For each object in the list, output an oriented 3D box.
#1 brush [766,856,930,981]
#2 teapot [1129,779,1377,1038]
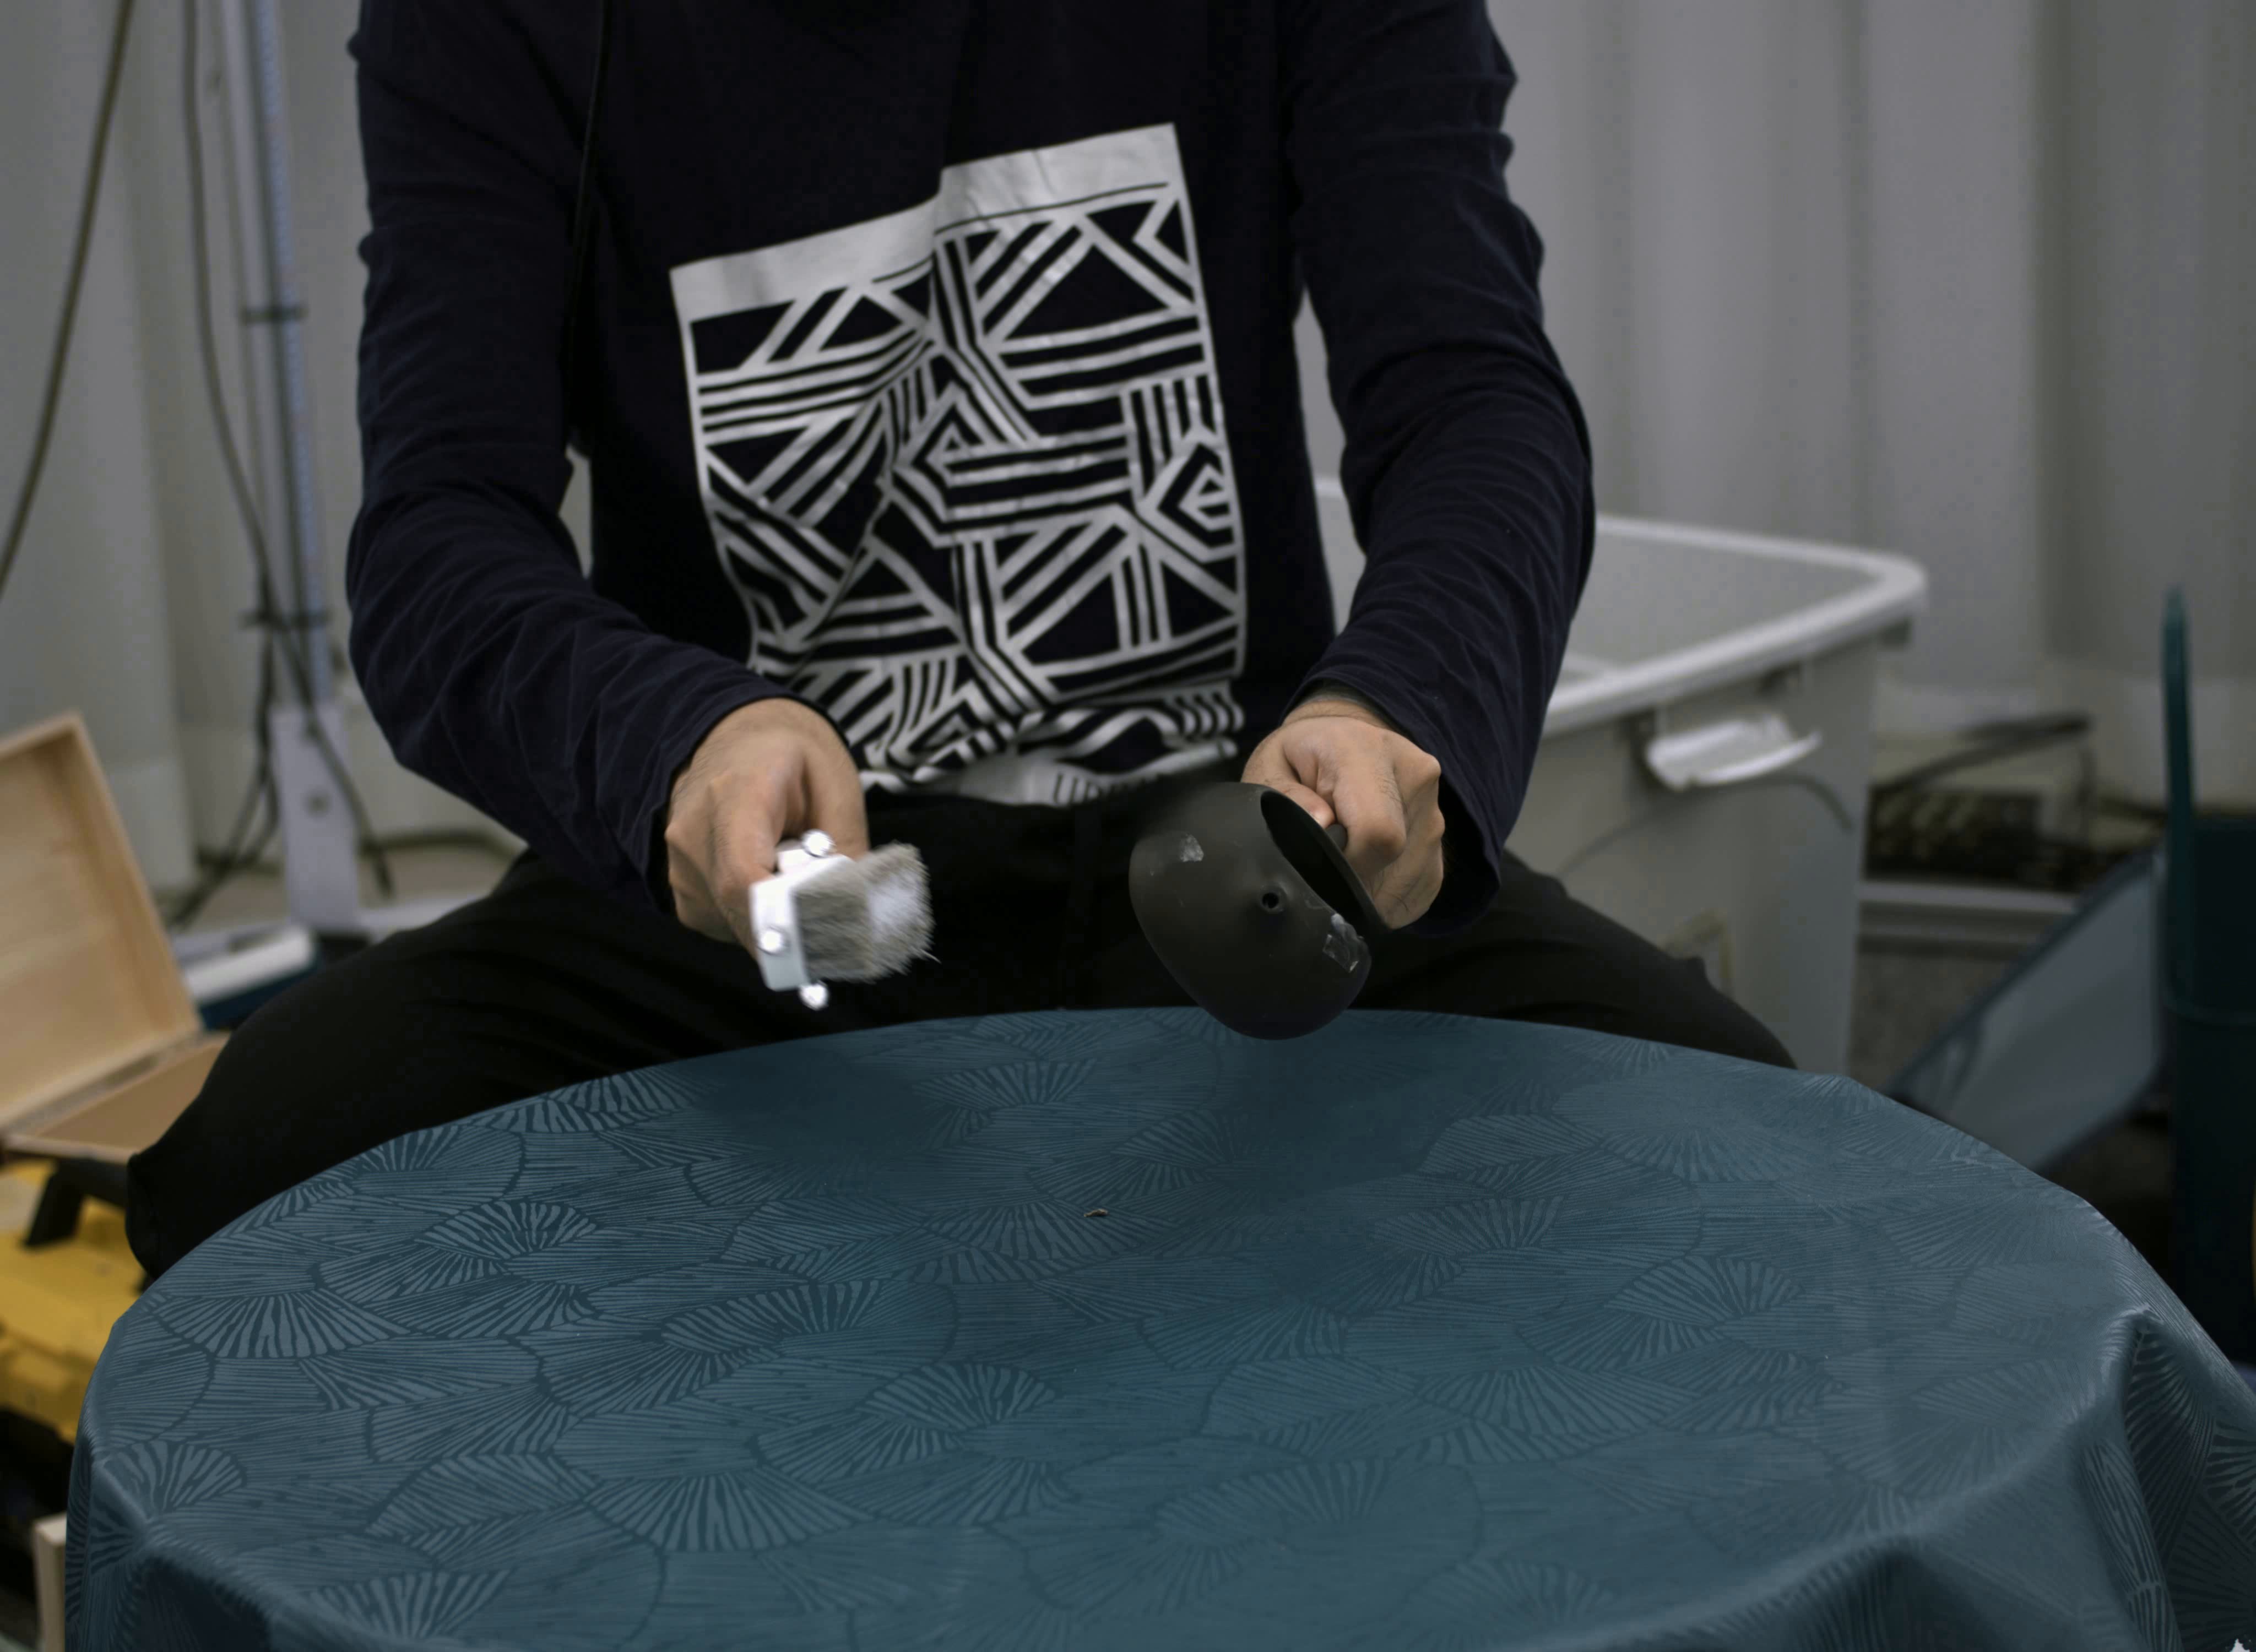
[{"bbox_3d":[-0.089,0.025,1.712,0.050,0.034,0.244,-3,2,-4],"label":"brush"},{"bbox_3d":[0.042,0.022,1.661,0.053,0.083,0.114,-41,-2,18],"label":"teapot"}]
